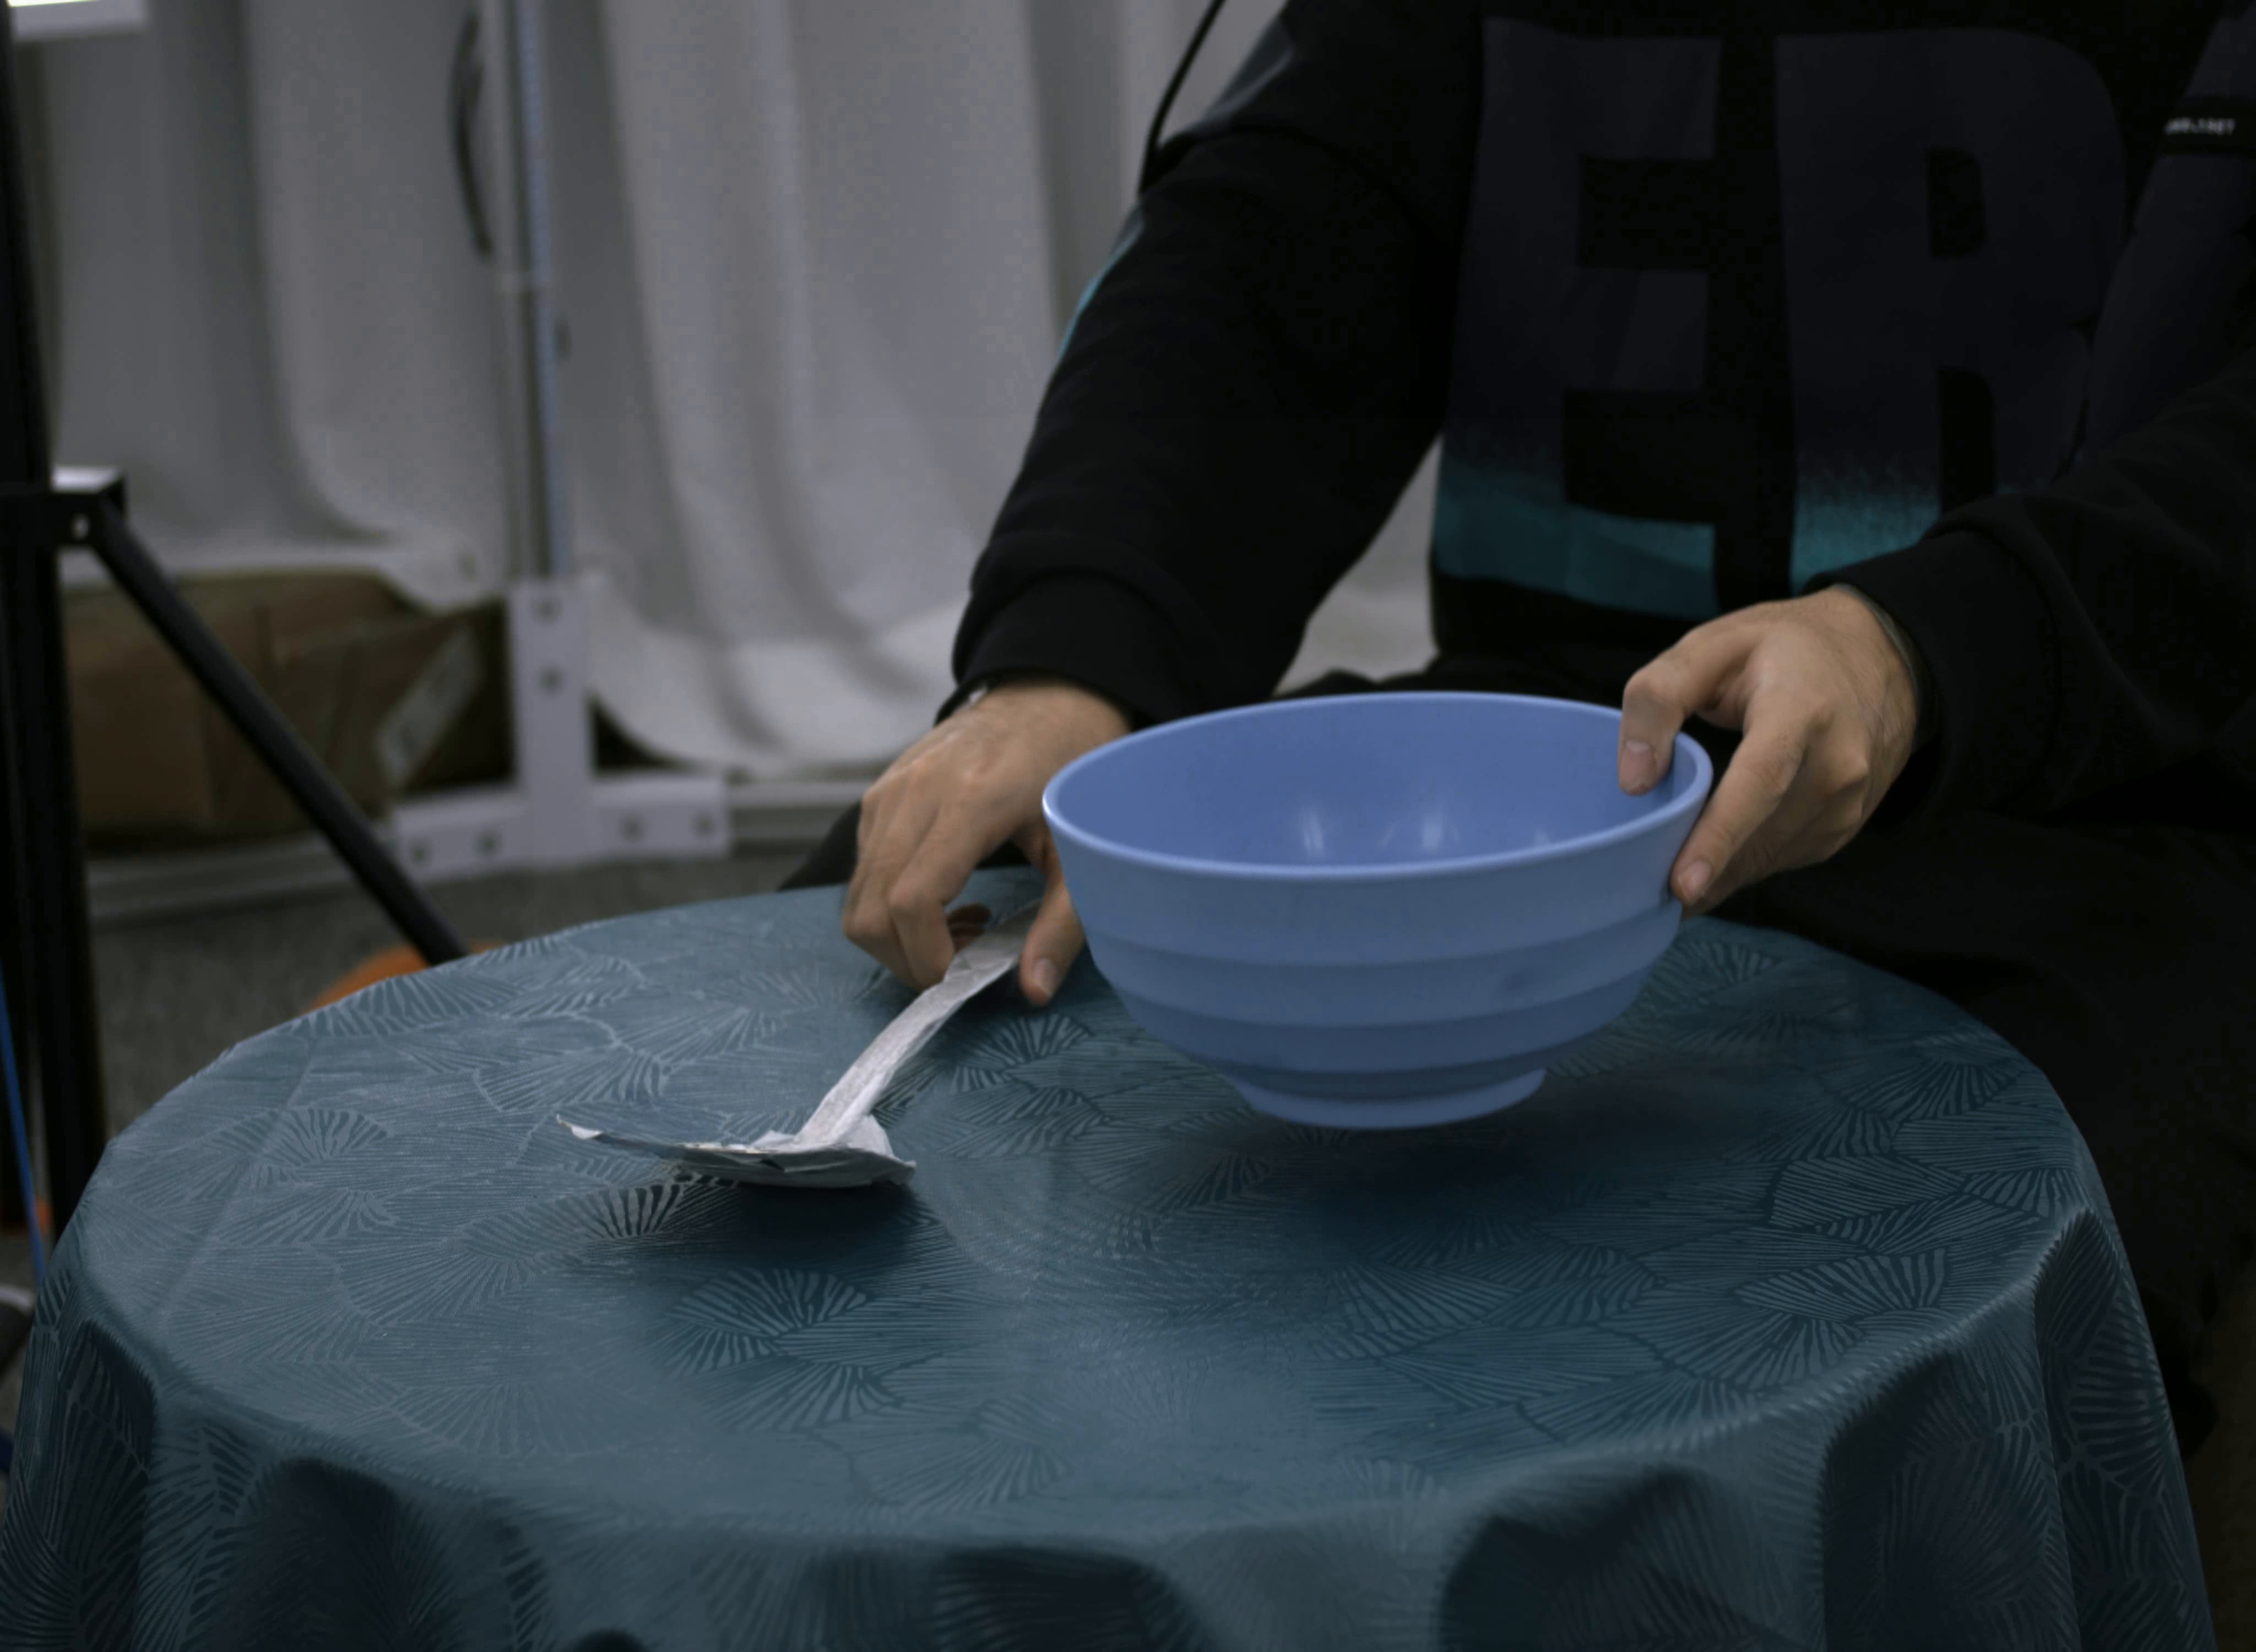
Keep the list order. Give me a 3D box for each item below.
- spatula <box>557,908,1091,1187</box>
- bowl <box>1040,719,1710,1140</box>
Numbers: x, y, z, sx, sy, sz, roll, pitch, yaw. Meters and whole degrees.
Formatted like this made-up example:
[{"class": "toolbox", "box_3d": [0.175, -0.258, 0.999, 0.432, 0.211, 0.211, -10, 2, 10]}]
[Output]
[{"class": "spatula", "box_3d": [-0.063, 0.059, 1.670, 0.100, 0.045, 0.360, 1, 16, 21]}, {"class": "bowl", "box_3d": [0.075, 0.035, 1.561, 0.195, 0.095, 0.197, -5, 13, 0]}]
